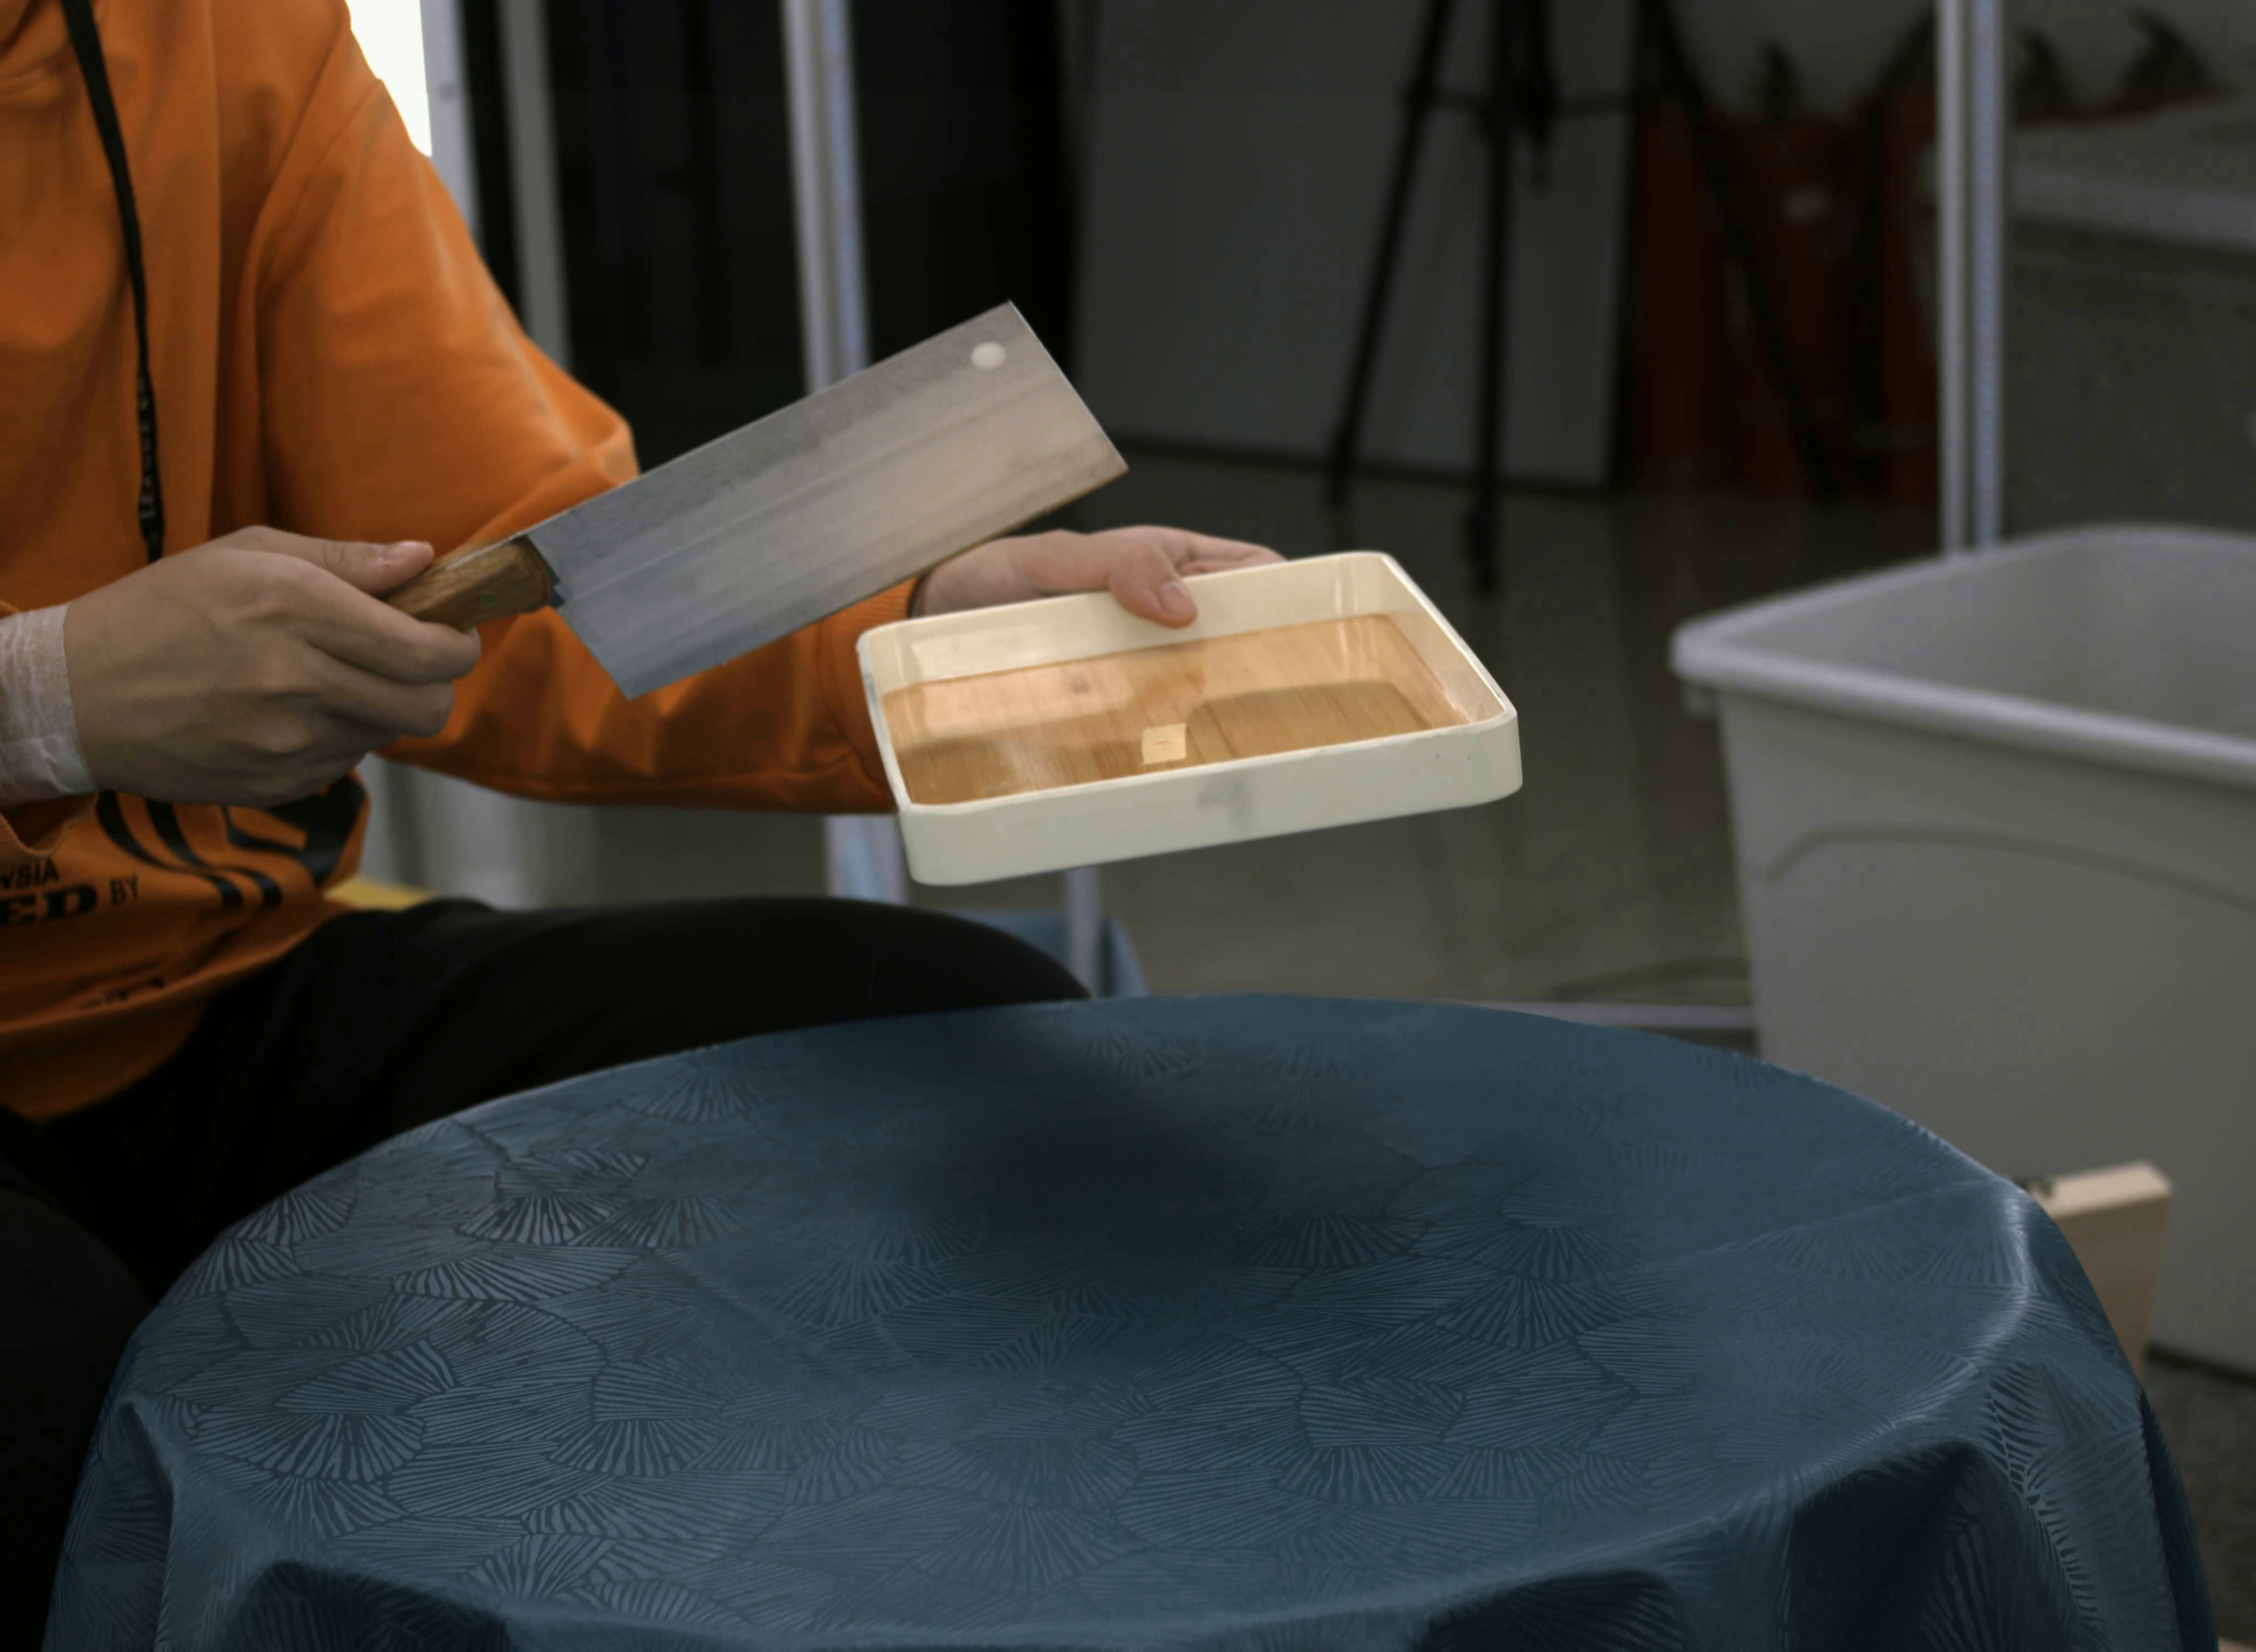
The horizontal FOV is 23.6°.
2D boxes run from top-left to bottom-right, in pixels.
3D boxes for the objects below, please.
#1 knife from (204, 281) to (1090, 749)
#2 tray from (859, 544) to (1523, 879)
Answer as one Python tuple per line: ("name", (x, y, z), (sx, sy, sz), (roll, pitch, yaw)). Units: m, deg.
("knife", (-0.154, -0.086, 1.767), (0.305, 0.092, 0.021), (-25, 46, 14))
("tray", (0.013, -0.040, 1.736), (0.189, 0.027, 0.301), (-10, 13, -3))
